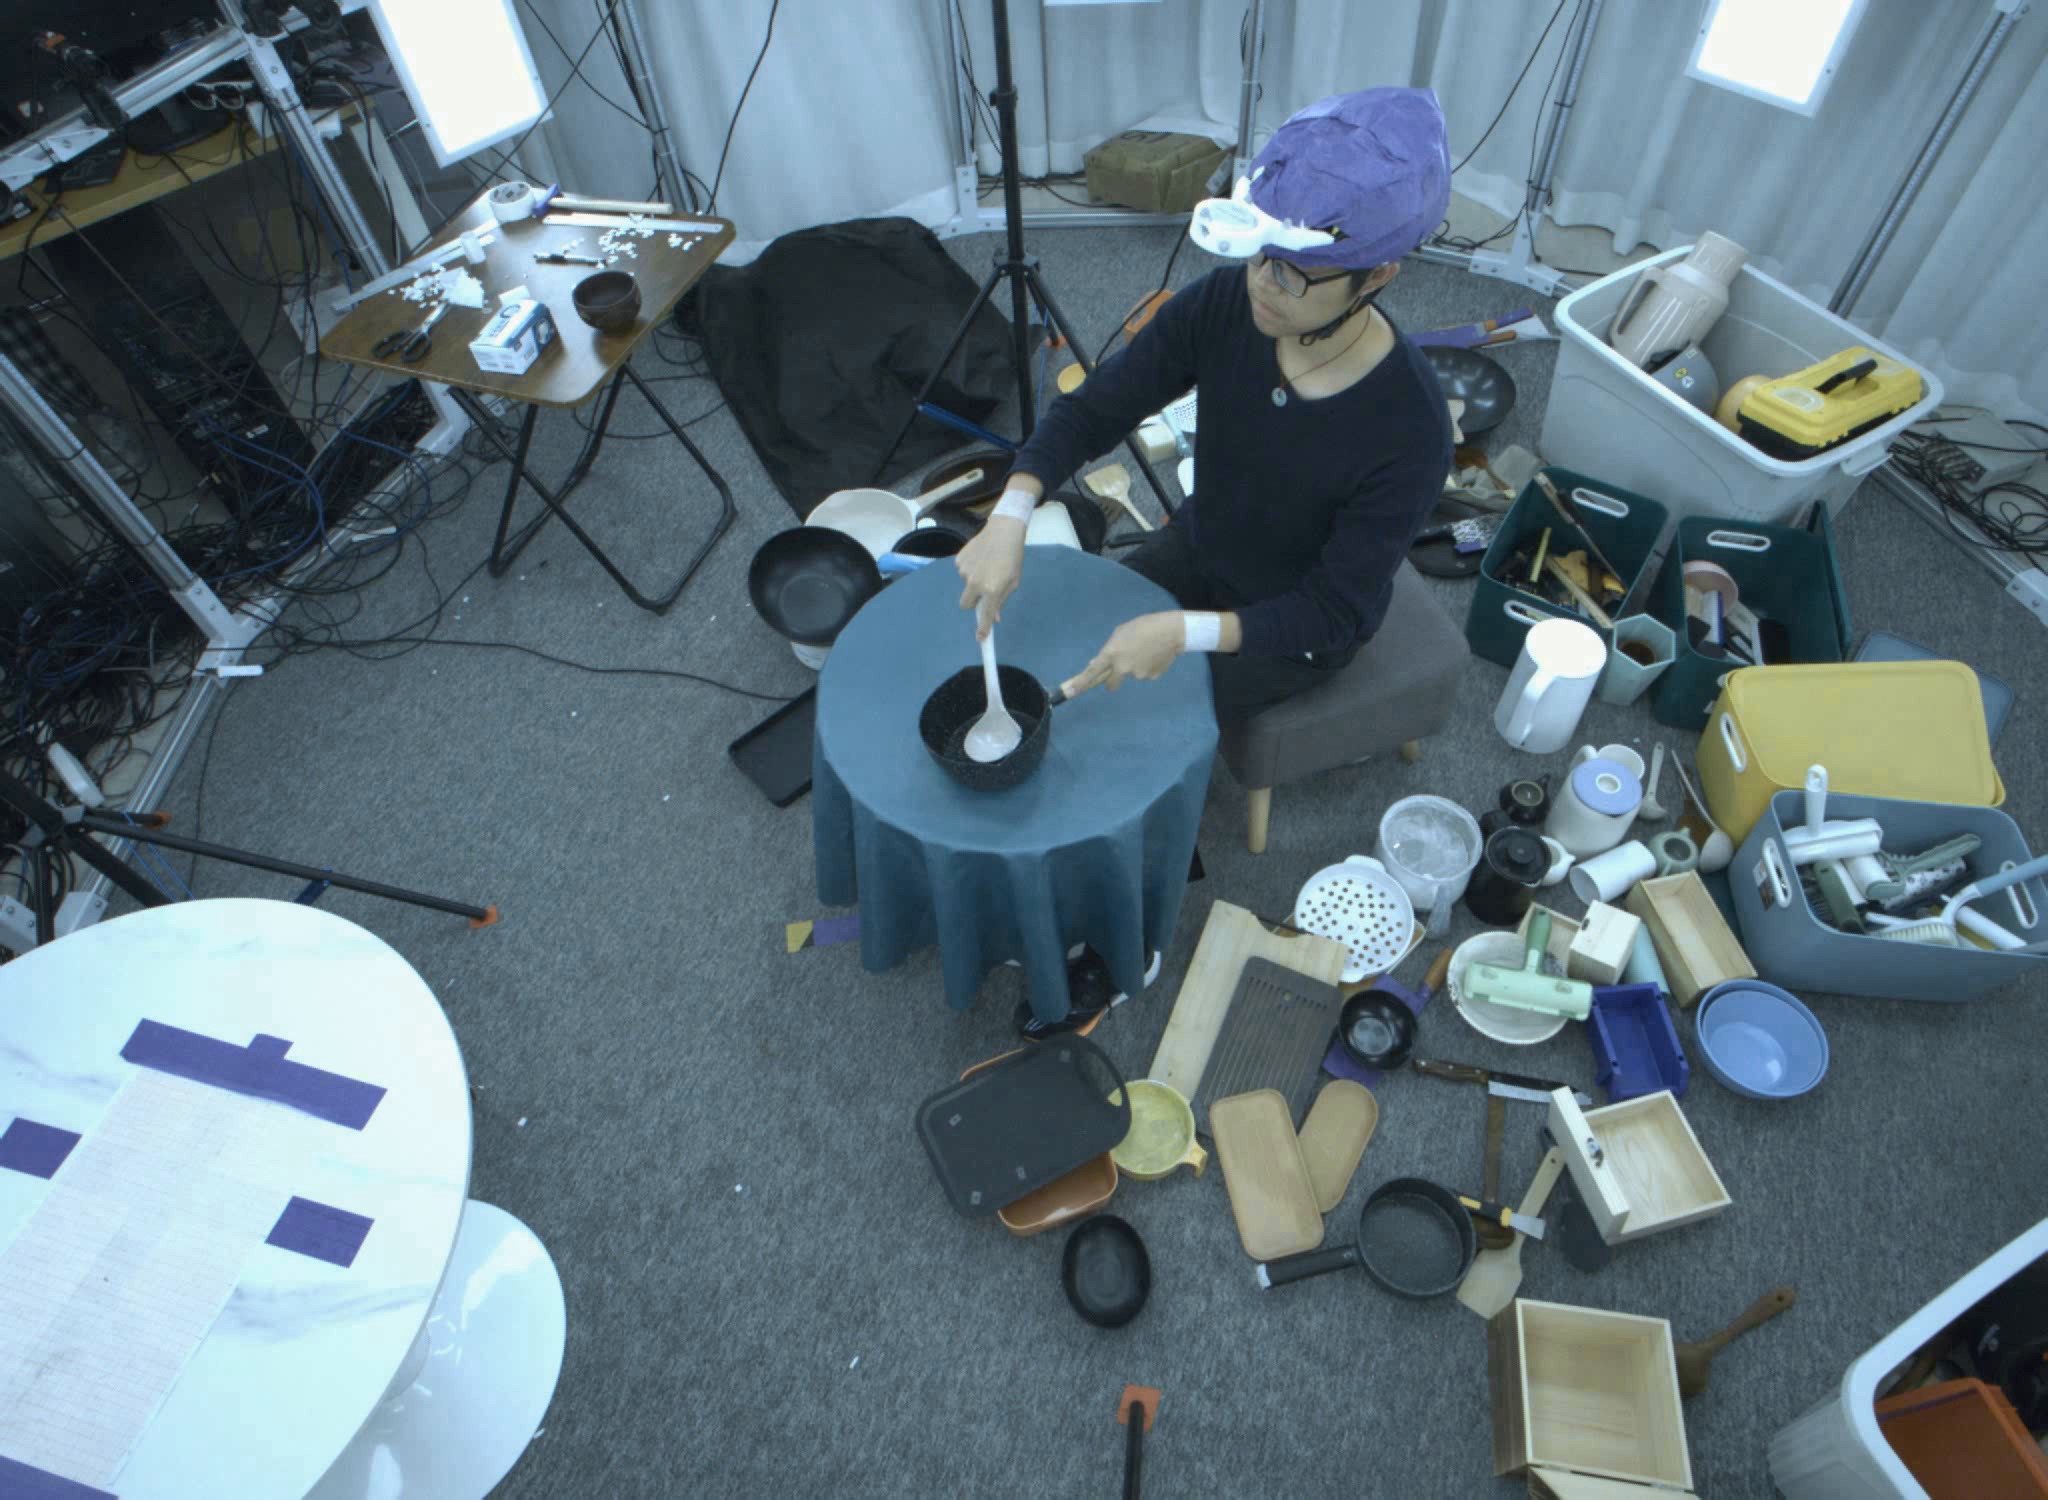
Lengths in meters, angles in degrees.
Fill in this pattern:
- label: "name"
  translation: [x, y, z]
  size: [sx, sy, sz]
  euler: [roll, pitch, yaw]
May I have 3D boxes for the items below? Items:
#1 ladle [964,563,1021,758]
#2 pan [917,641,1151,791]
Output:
- label: "ladle"
  translation: [-0.058, -0.120, 1.718]
  size: [0.087, 0.276, 0.070]
  euler: [2, 18, 32]
- label: "pan"
  translation: [0.022, -0.060, 1.738]
  size: [0.343, 0.110, 0.204]
  euler: [-20, 49, -1]
